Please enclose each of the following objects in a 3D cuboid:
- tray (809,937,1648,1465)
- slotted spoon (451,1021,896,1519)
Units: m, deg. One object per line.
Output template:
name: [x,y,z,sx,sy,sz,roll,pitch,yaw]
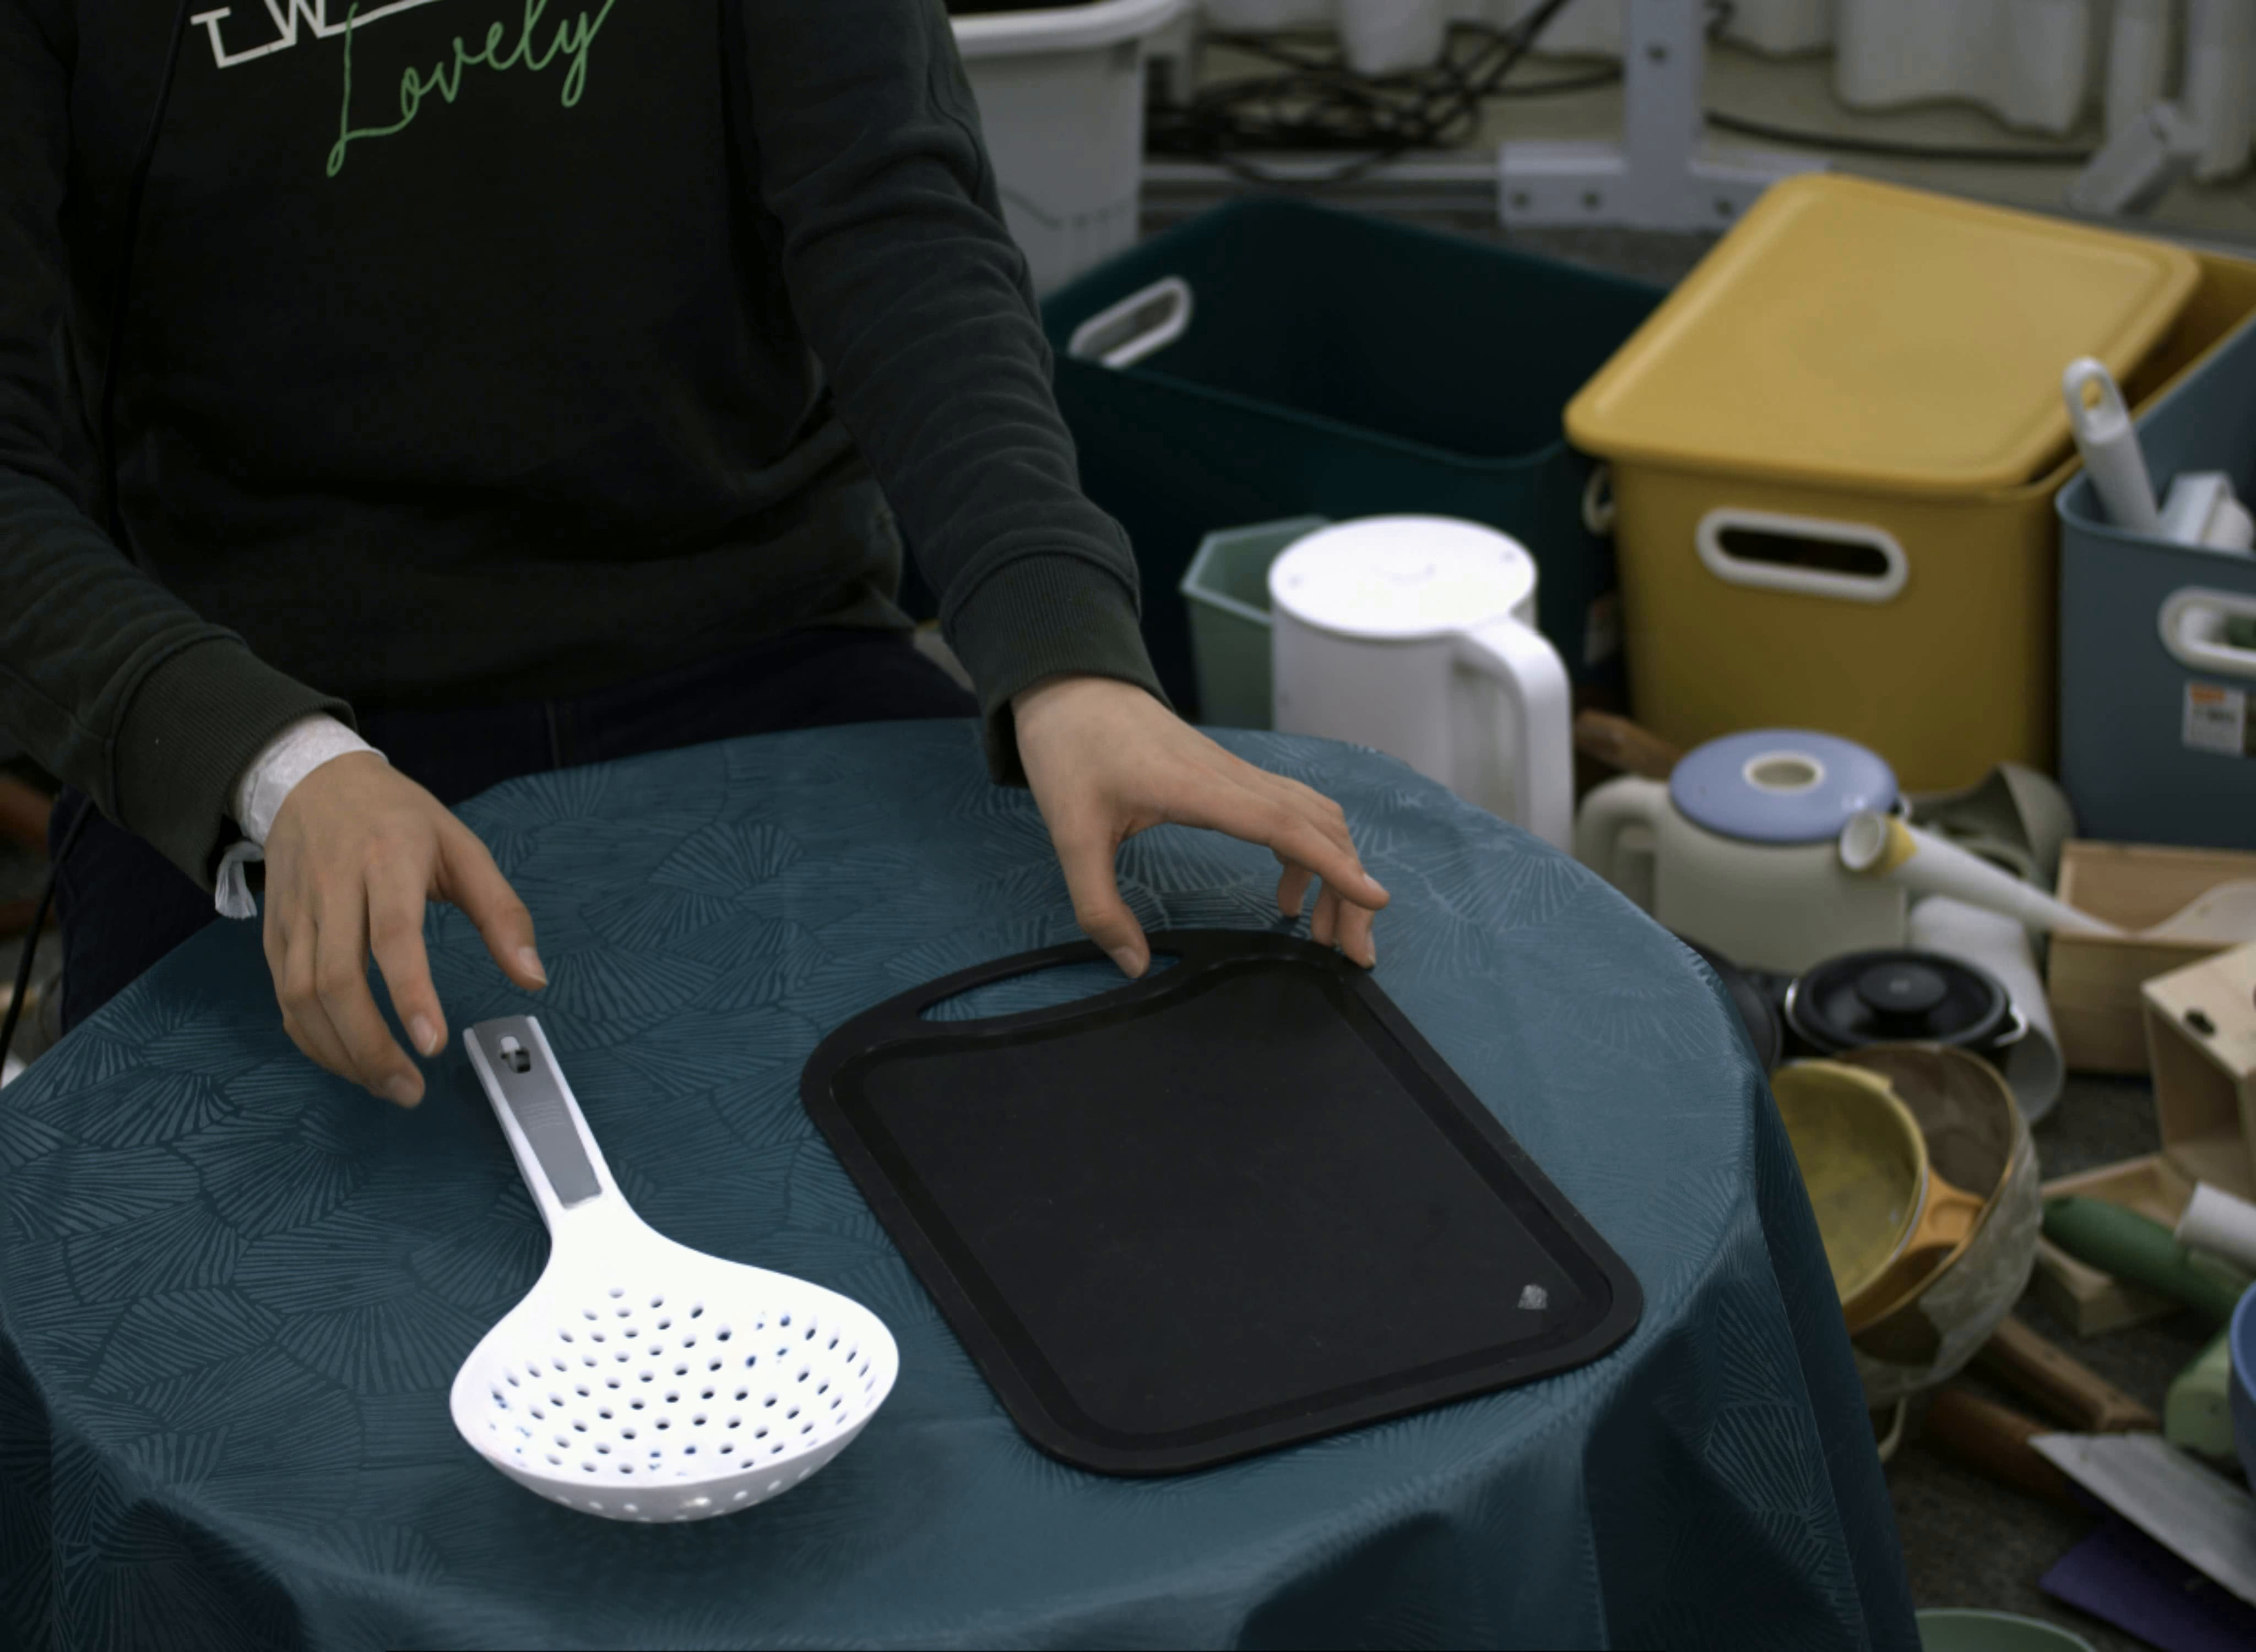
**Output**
tray: [0.023,0.114,1.865,0.211,0.009,0.328,-12,28,-17]
slotted spoon: [-0.169,0.136,1.801,0.136,0.045,0.353,-8,27,-15]
